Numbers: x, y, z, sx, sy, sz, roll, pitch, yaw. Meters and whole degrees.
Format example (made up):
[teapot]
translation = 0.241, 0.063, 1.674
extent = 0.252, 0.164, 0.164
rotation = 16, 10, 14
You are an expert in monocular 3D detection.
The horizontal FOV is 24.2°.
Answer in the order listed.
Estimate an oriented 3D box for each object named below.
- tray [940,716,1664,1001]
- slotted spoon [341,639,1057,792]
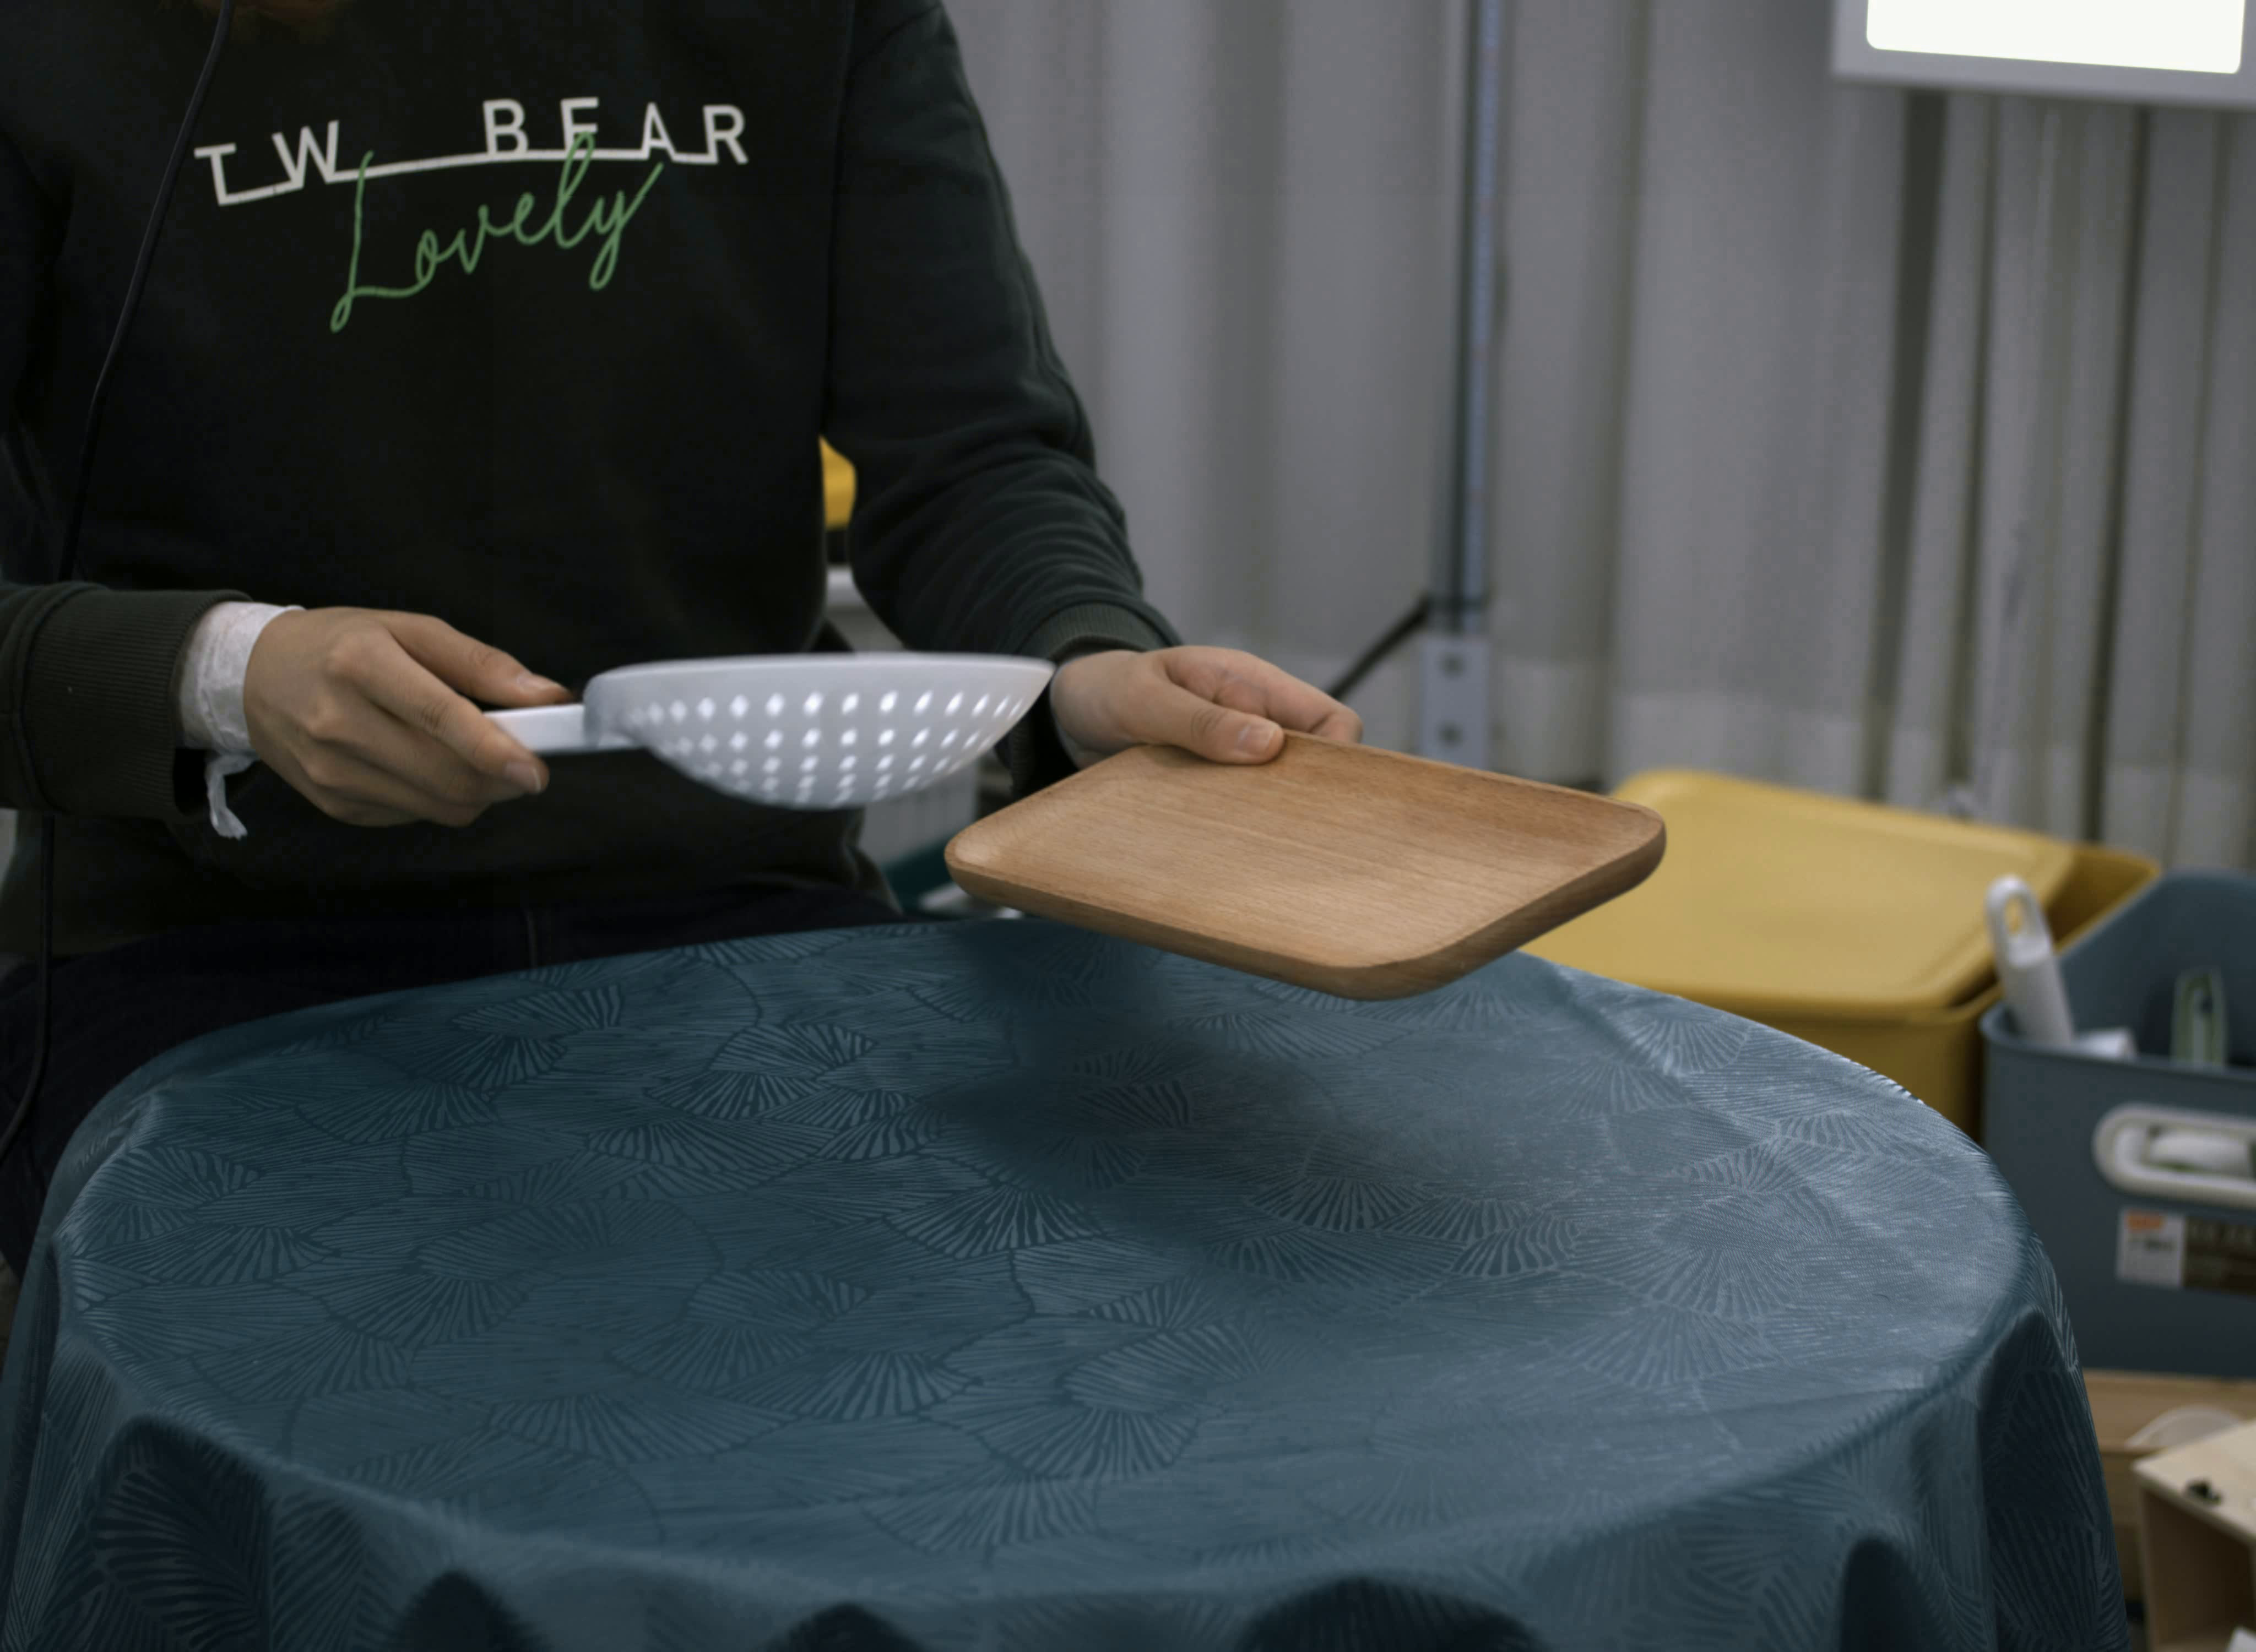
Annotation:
[tray]
translation = 0.051, 0.008, 1.647
extent = 0.131, 0.023, 0.247
rotation = -23, 21, -30
[slotted spoon]
translation = -0.153, -0.036, 1.648
extent = 0.137, 0.046, 0.346
rotation = 2, 1, -37
